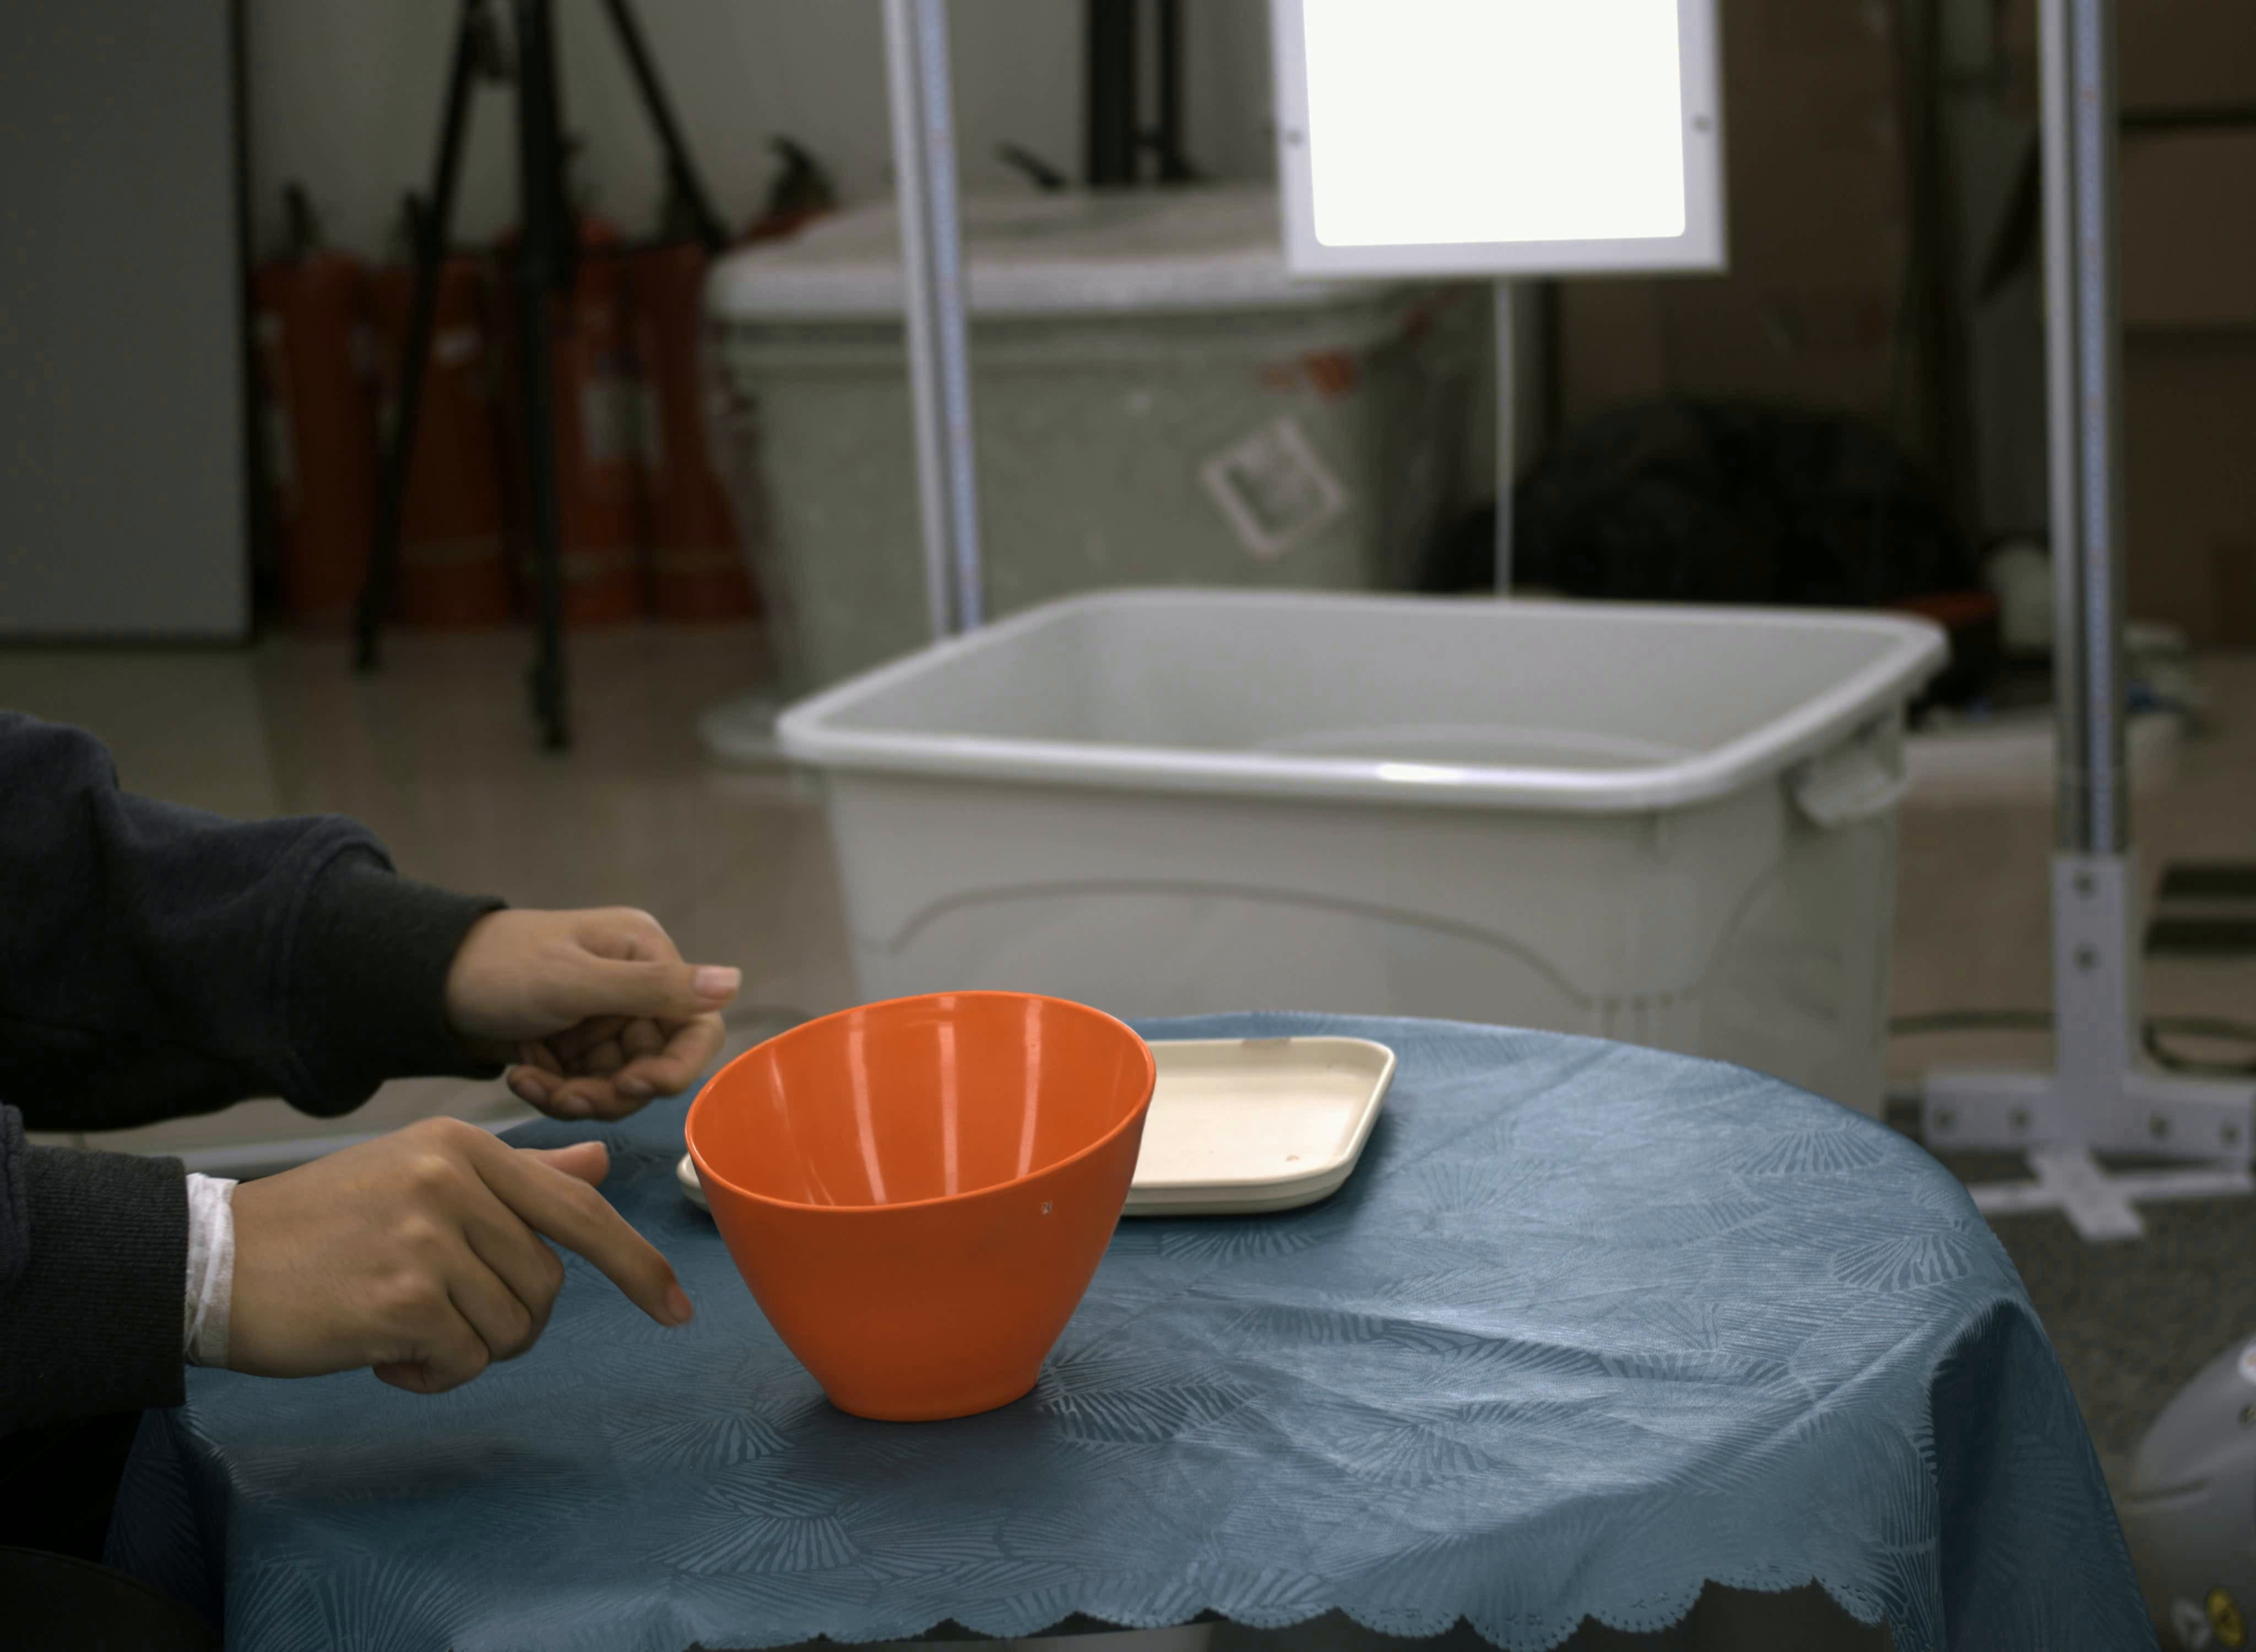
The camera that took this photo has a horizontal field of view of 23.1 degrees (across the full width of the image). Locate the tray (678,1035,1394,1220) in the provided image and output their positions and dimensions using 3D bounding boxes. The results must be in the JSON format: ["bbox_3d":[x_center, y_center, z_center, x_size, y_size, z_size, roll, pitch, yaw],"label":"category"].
[{"bbox_3d":[-0.030,0.108,1.947,0.241,0.017,0.169,-2,15,13],"label":"tray"}]

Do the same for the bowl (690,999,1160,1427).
[{"bbox_3d":[-0.060,0.124,1.718,0.147,0.105,0.148,-5,14,0],"label":"bowl"}]
